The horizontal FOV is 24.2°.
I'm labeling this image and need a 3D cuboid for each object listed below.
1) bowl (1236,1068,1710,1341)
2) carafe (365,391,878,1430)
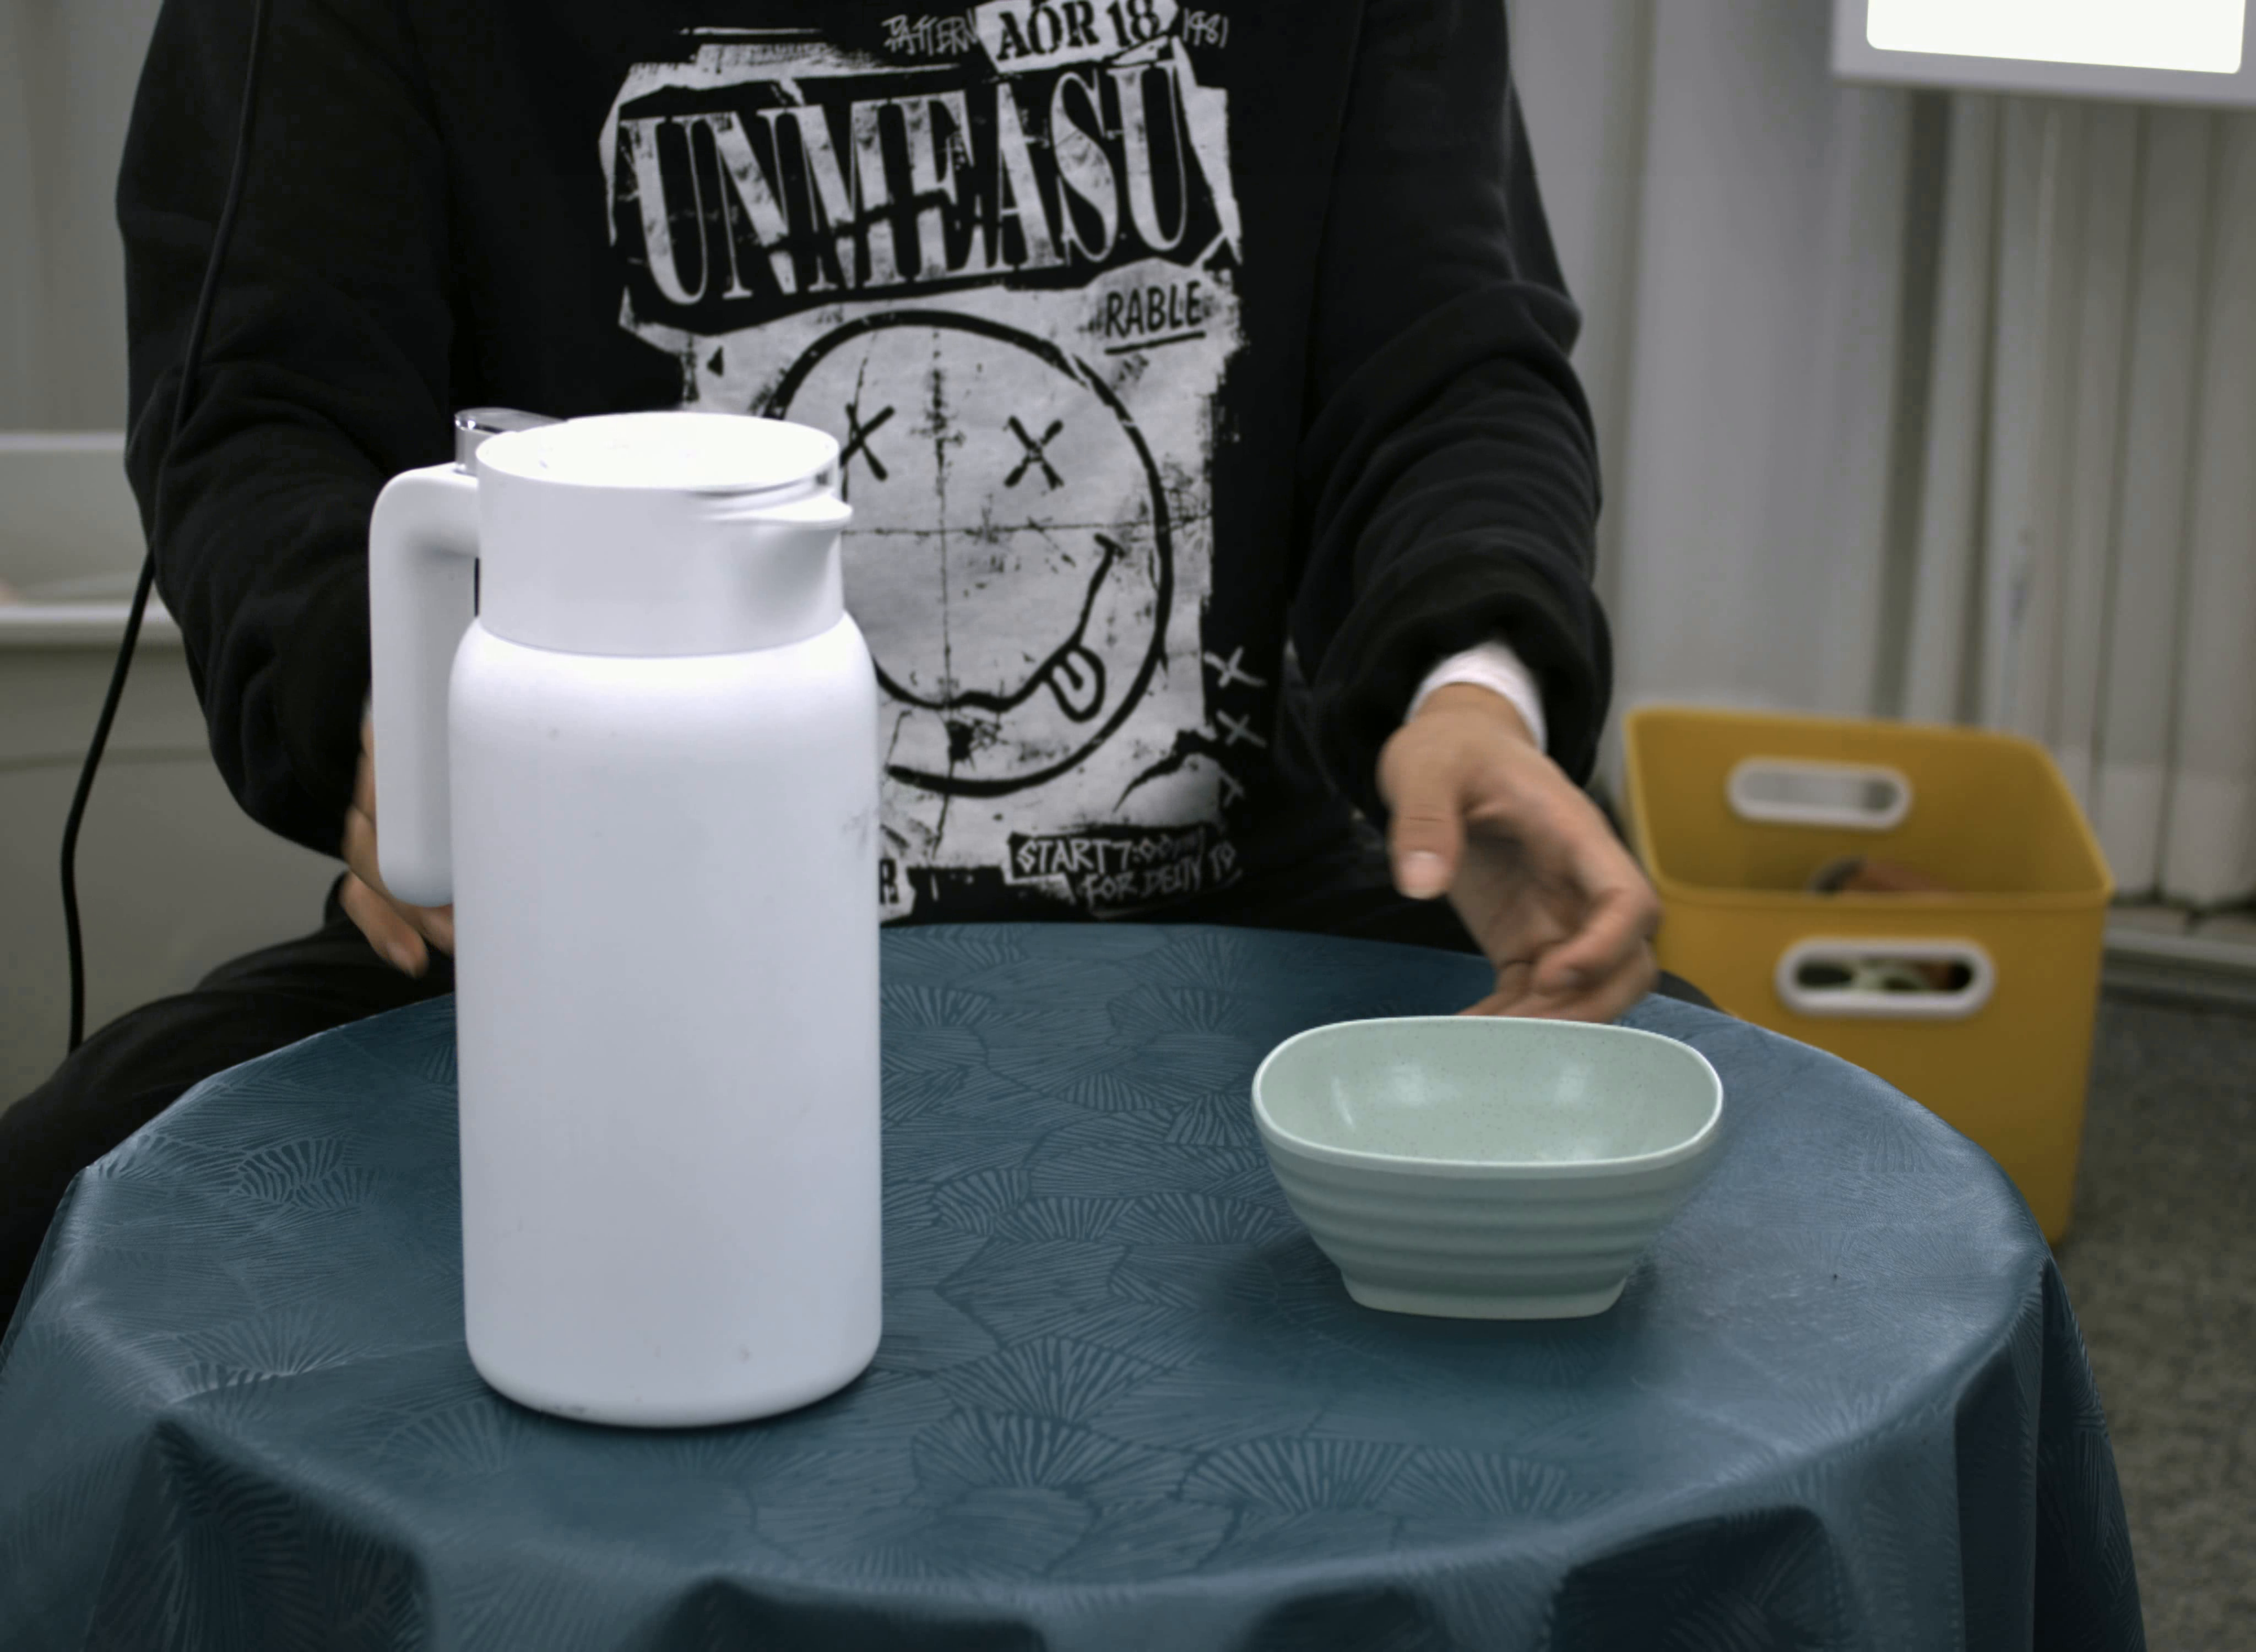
[{"bbox_3d":[0.102,0.113,1.548,0.151,0.059,0.151,-1,9,1],"label":"bowl"},{"bbox_3d":[-0.141,0.020,1.450,0.170,0.271,0.124,13,22,37],"label":"carafe"}]
